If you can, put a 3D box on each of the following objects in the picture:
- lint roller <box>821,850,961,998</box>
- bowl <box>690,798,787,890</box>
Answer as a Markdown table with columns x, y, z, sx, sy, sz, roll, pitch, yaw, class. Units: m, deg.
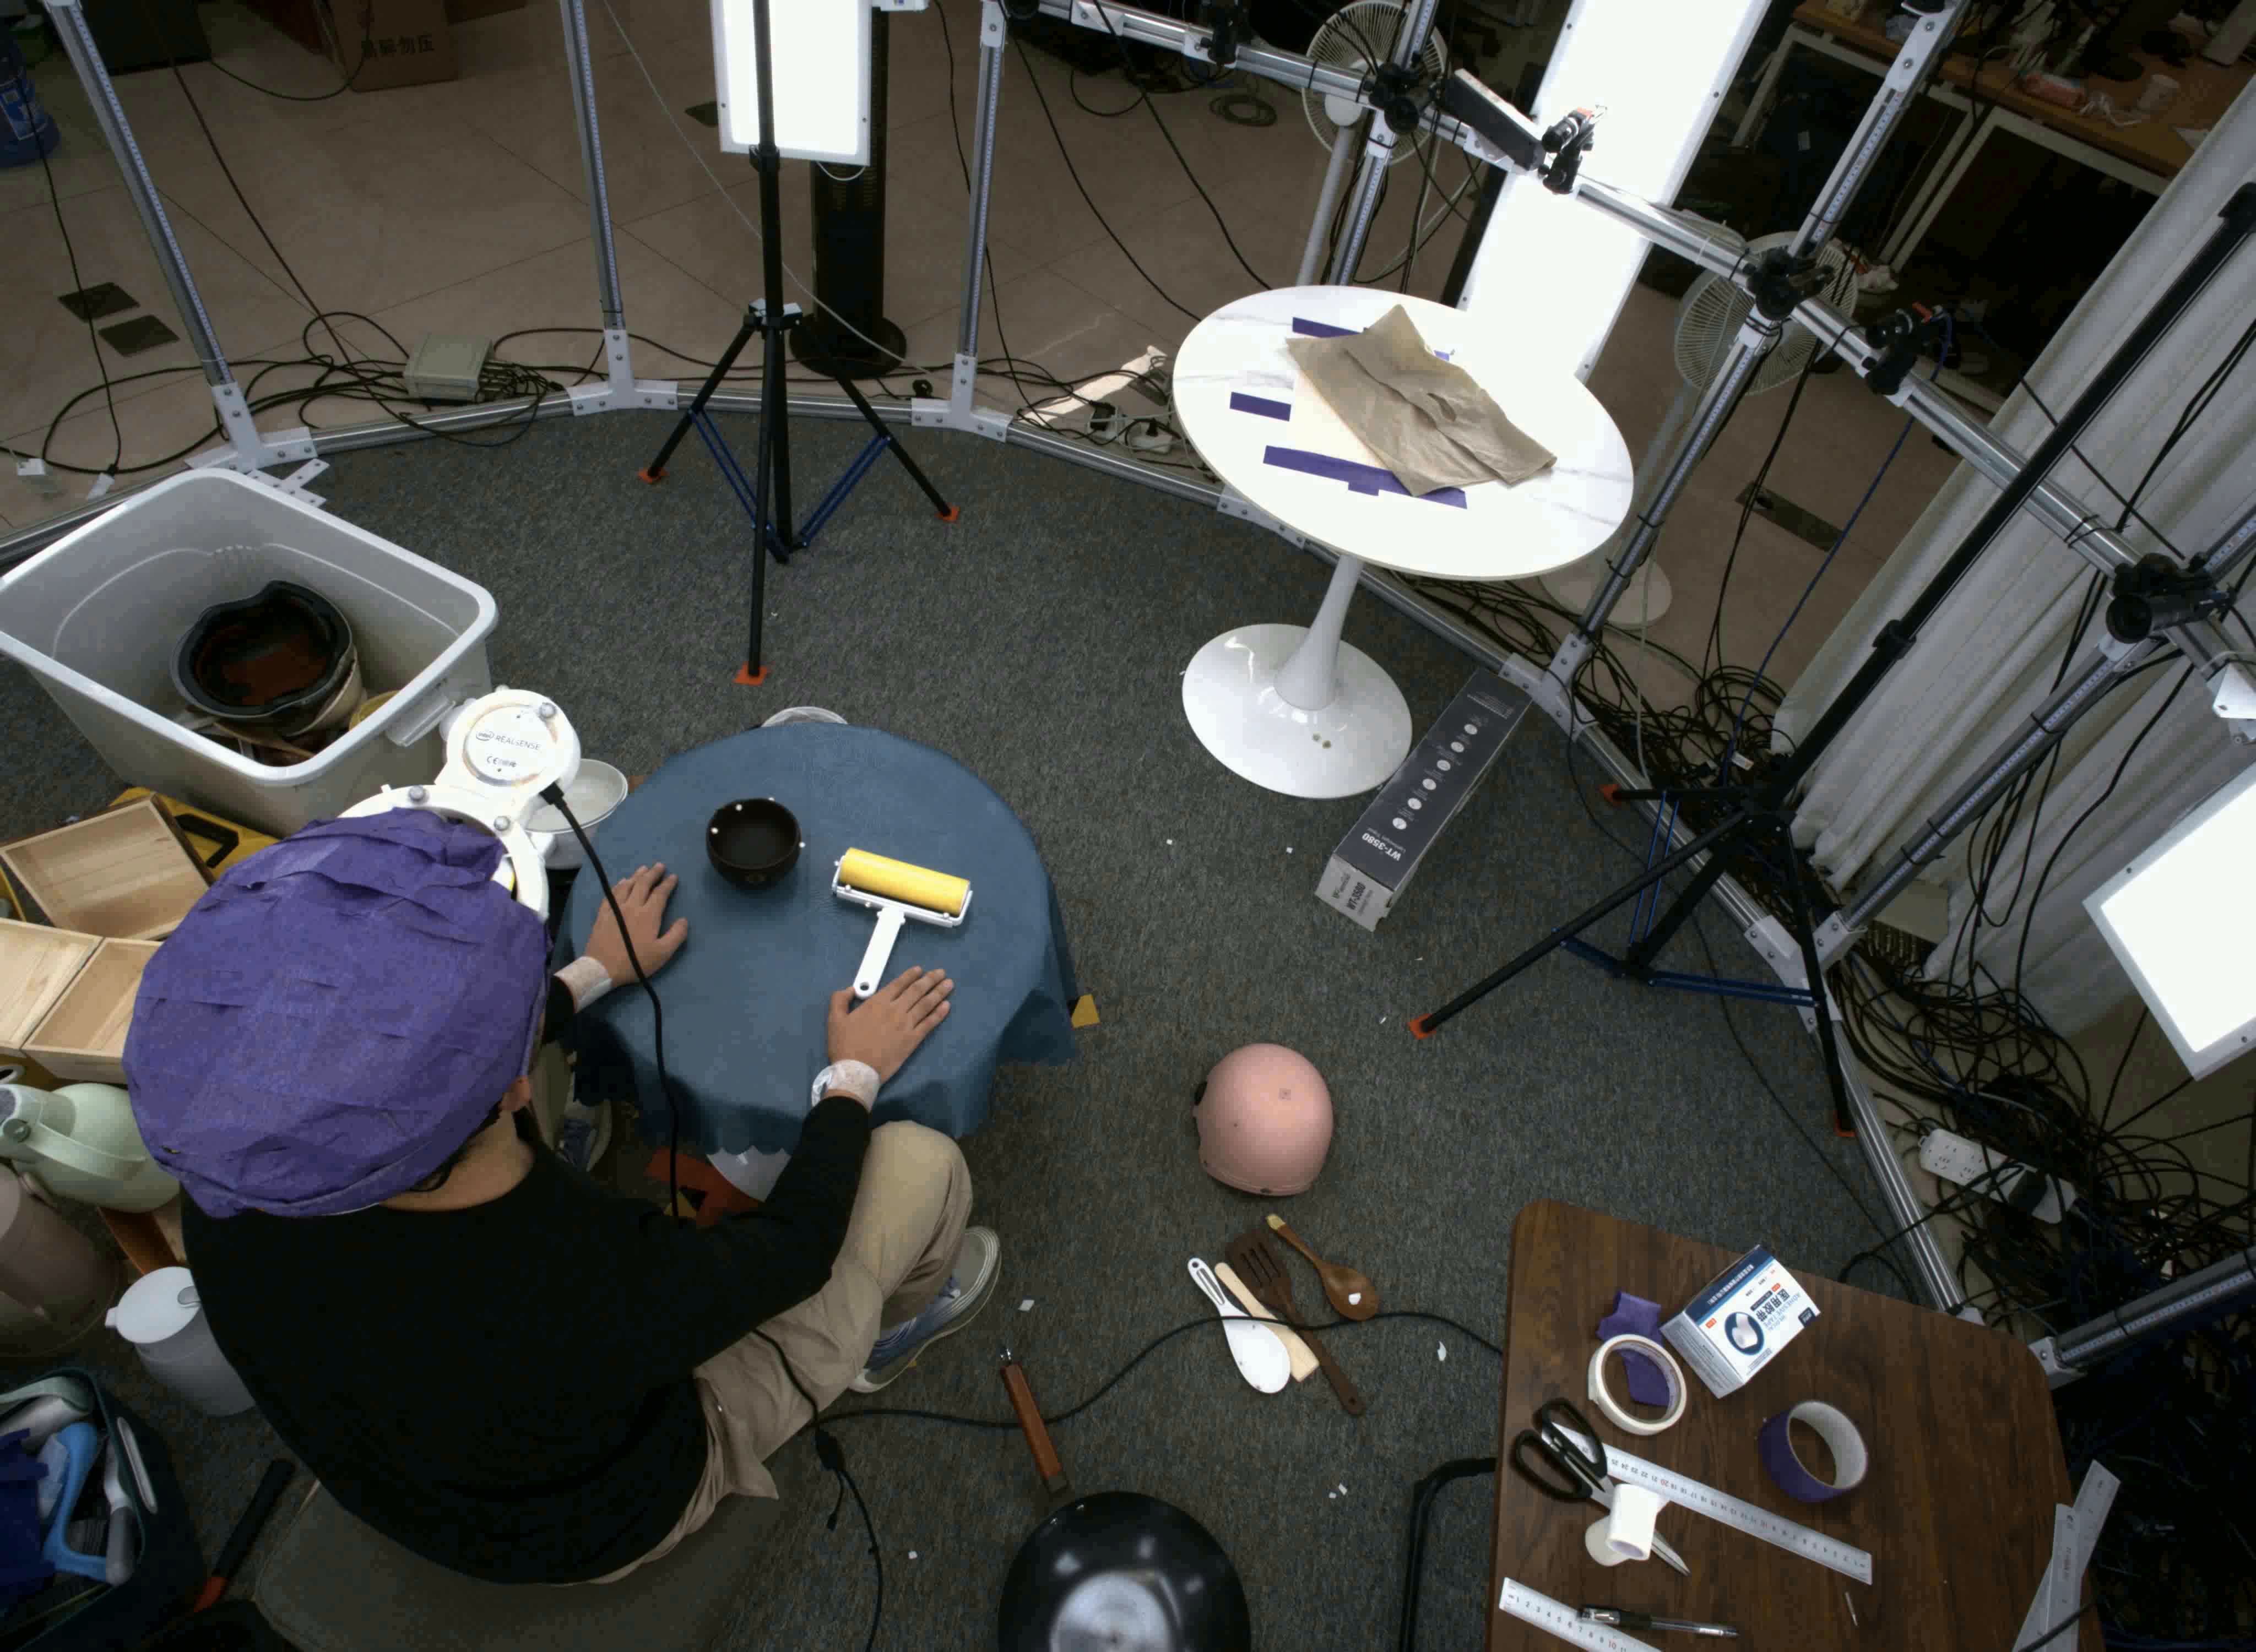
| x | y | z | sx | sy | sz | roll | pitch | yaw | class |
| --- | --- | --- | --- | --- | --- | --- | --- | --- | --- |
| -0.312 | 0.122 | 1.624 | 0.173 | 0.052 | 0.189 | 14 | 47 | -3 | lint roller |
| -0.490 | 0.029 | 1.631 | 0.118 | 0.071 | 0.116 | 8 | 51 | -8 | bowl |
